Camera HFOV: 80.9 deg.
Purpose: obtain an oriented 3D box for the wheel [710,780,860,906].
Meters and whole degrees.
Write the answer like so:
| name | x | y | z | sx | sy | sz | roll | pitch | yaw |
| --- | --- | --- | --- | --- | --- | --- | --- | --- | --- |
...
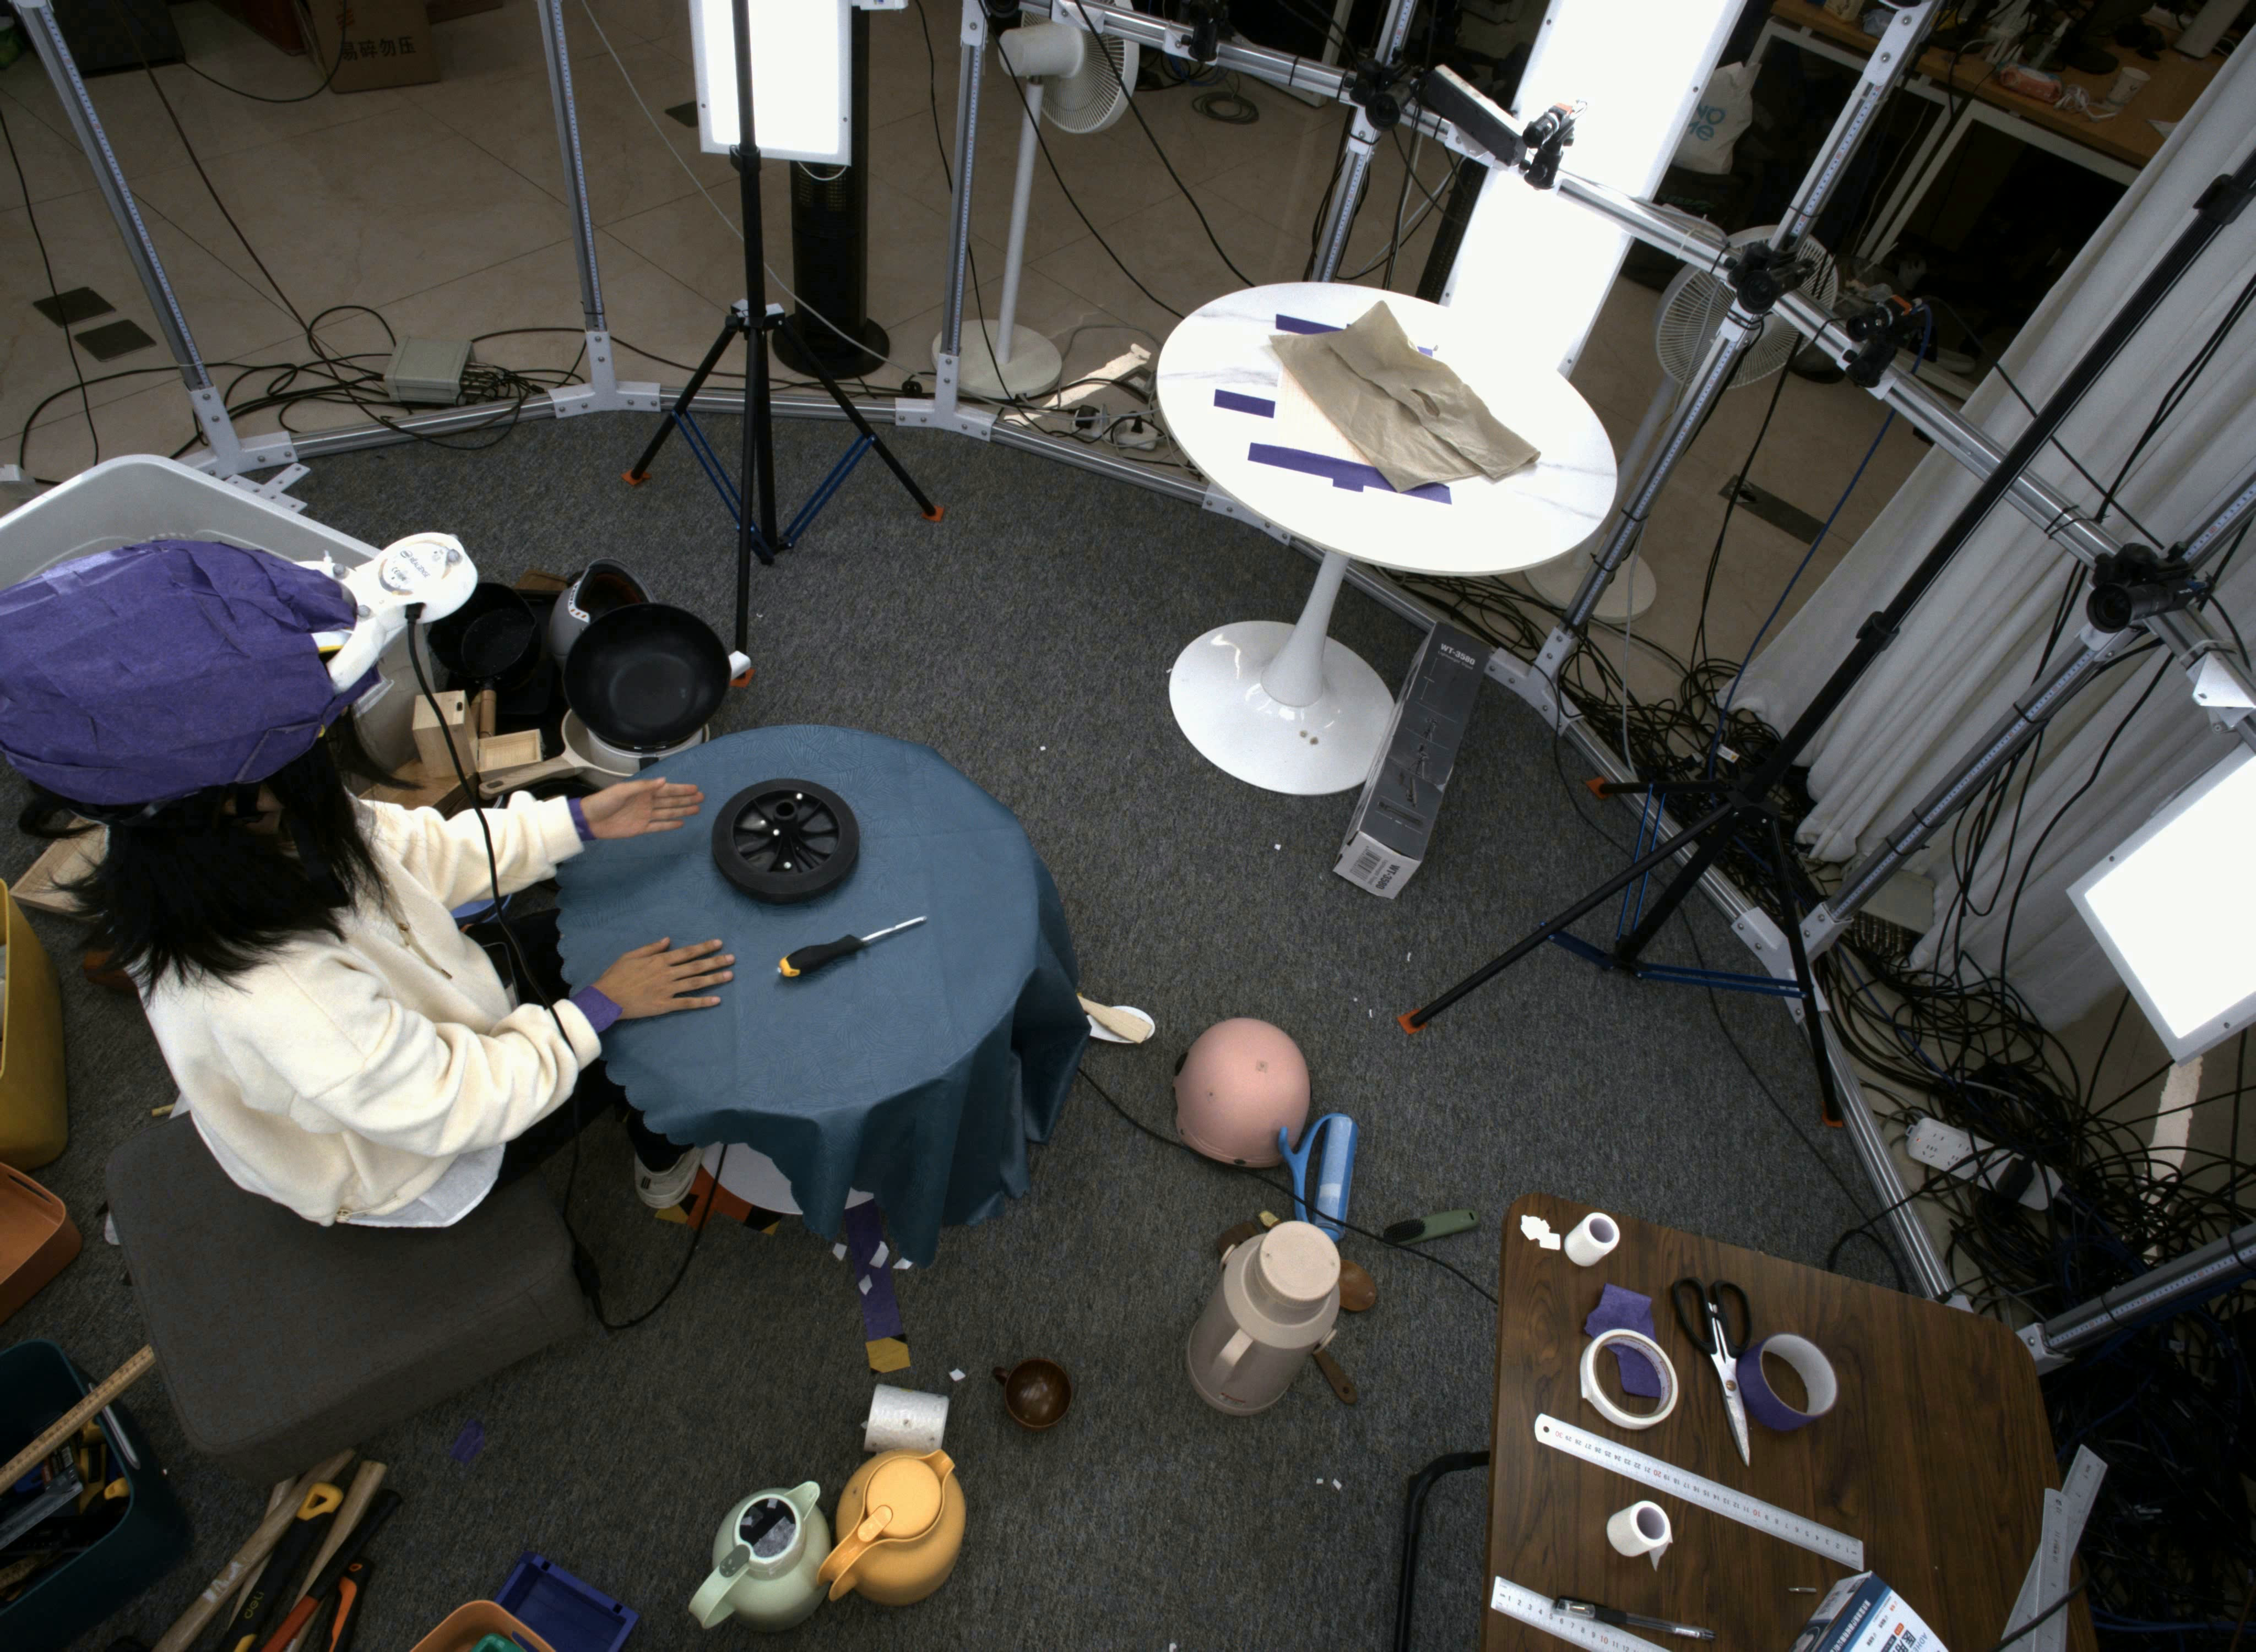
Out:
| name | x | y | z | sx | sy | sz | roll | pitch | yaw |
| --- | --- | --- | --- | --- | --- | --- | --- | --- | --- |
| wheel | -0.440 | 0.006 | 1.663 | 0.188 | 0.080 | 0.186 | 22 | 52 | 1 |

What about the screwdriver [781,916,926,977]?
| name | x | y | z | sx | sy | sz | roll | pitch | yaw |
| --- | --- | --- | --- | --- | --- | --- | --- | --- | --- |
| screwdriver | -0.341 | 0.140 | 1.620 | 0.197 | 0.032 | 0.030 | -23 | 60 | -31 |
